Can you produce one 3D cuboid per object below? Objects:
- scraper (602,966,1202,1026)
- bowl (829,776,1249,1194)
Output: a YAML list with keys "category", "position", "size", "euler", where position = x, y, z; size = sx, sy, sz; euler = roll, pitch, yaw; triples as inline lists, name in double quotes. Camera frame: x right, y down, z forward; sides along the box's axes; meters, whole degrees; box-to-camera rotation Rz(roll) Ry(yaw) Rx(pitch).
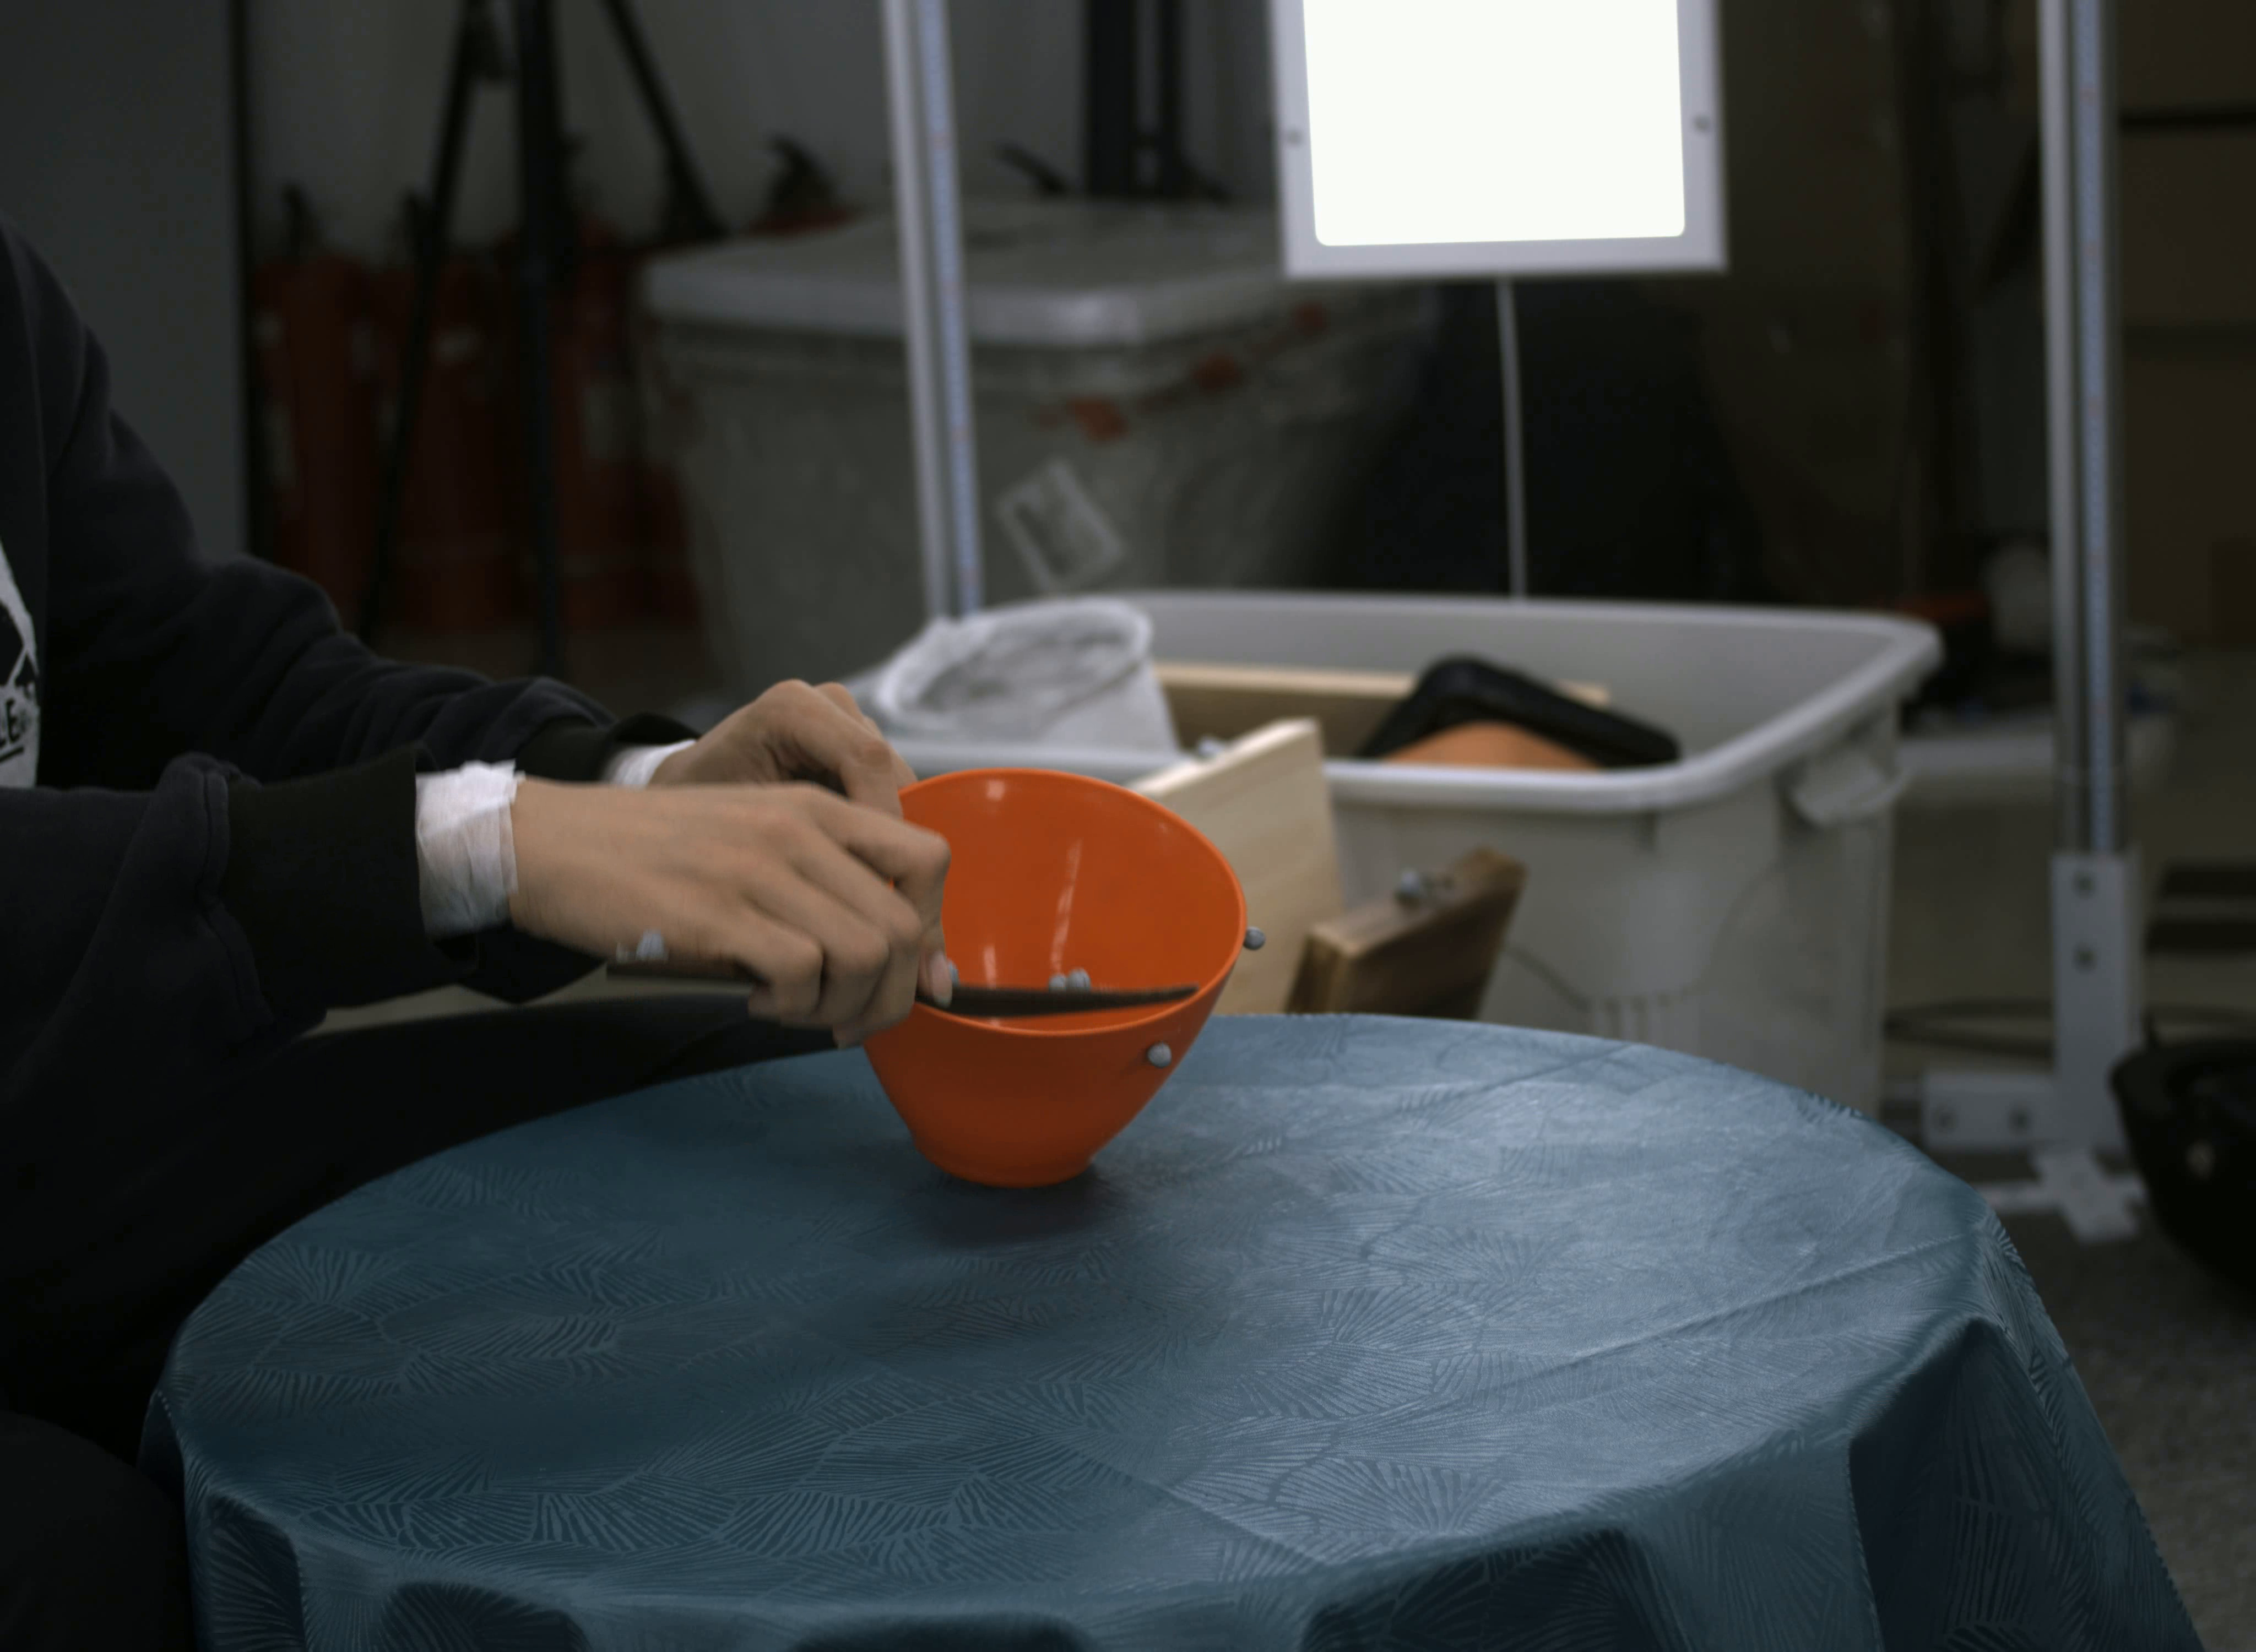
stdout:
- category: "scraper"
  position: [-0.074, 0.053, 1.738]
  size: [0.206, 0.011, 0.077]
  euler: [6, -9, -38]
- category: "bowl"
  position: [-0.035, 0.062, 1.924]
  size: [0.147, 0.105, 0.147]
  euler: [5, 27, -4]
